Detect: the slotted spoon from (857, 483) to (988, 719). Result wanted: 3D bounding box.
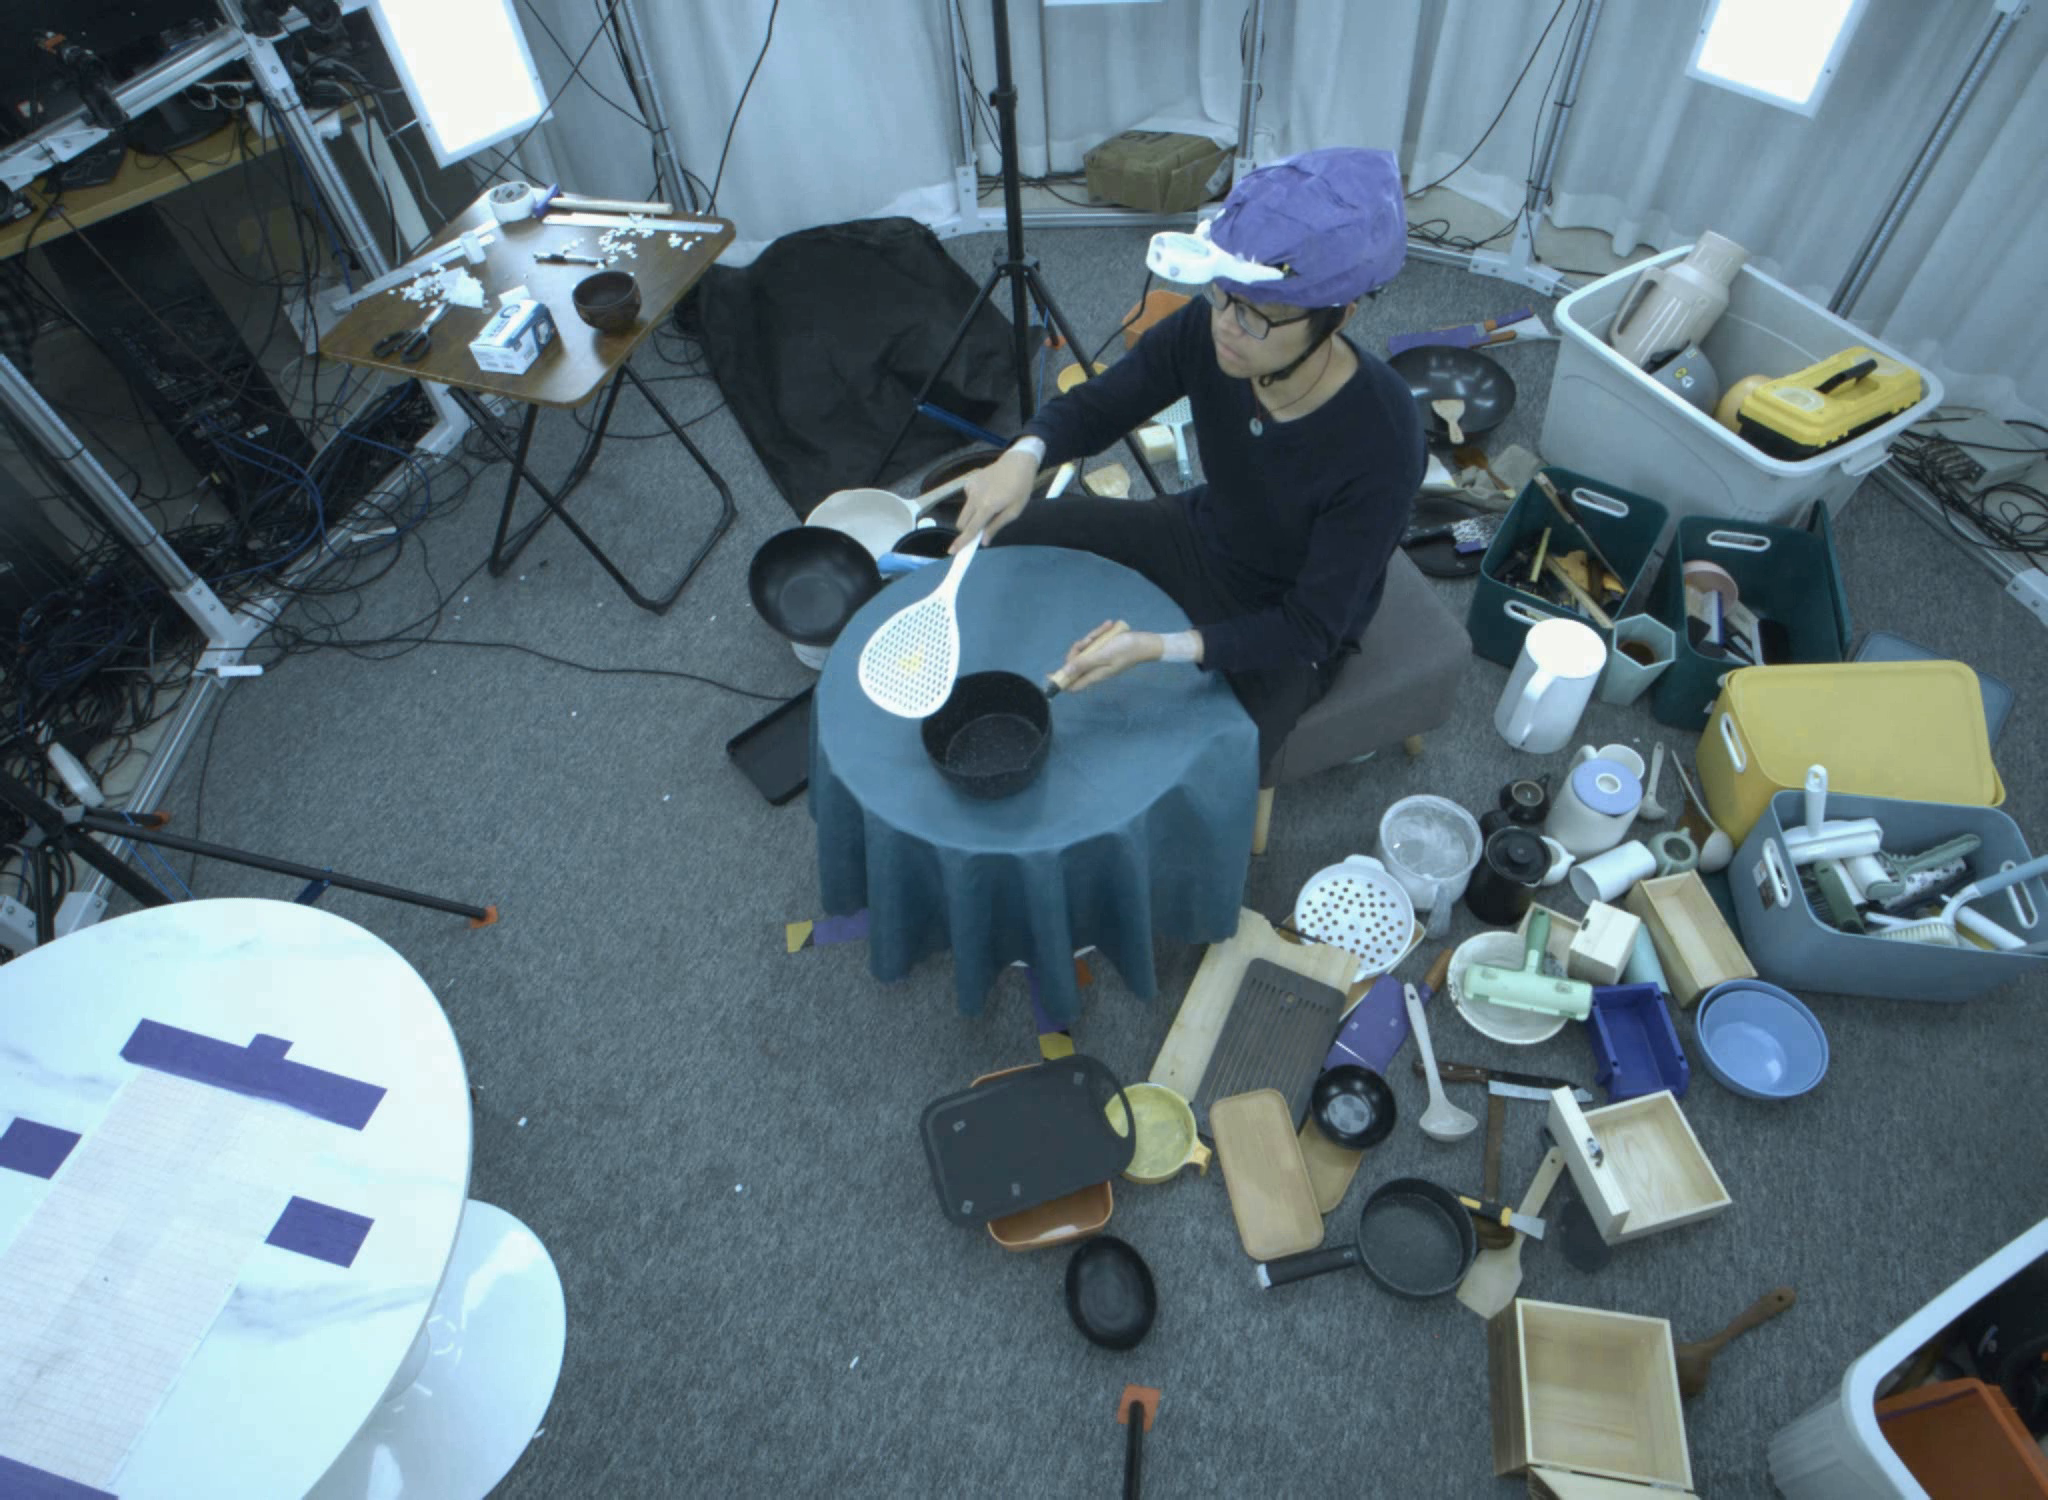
[{"bbox_3d":[-0.119,-0.213,1.718,0.138,0.050,0.348,24,95,-14],"label":"slotted spoon"}]

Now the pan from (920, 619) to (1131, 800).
[{"bbox_3d":[0.015,-0.064,1.750,0.344,0.110,0.203,-35,56,-13],"label":"pan"}]
